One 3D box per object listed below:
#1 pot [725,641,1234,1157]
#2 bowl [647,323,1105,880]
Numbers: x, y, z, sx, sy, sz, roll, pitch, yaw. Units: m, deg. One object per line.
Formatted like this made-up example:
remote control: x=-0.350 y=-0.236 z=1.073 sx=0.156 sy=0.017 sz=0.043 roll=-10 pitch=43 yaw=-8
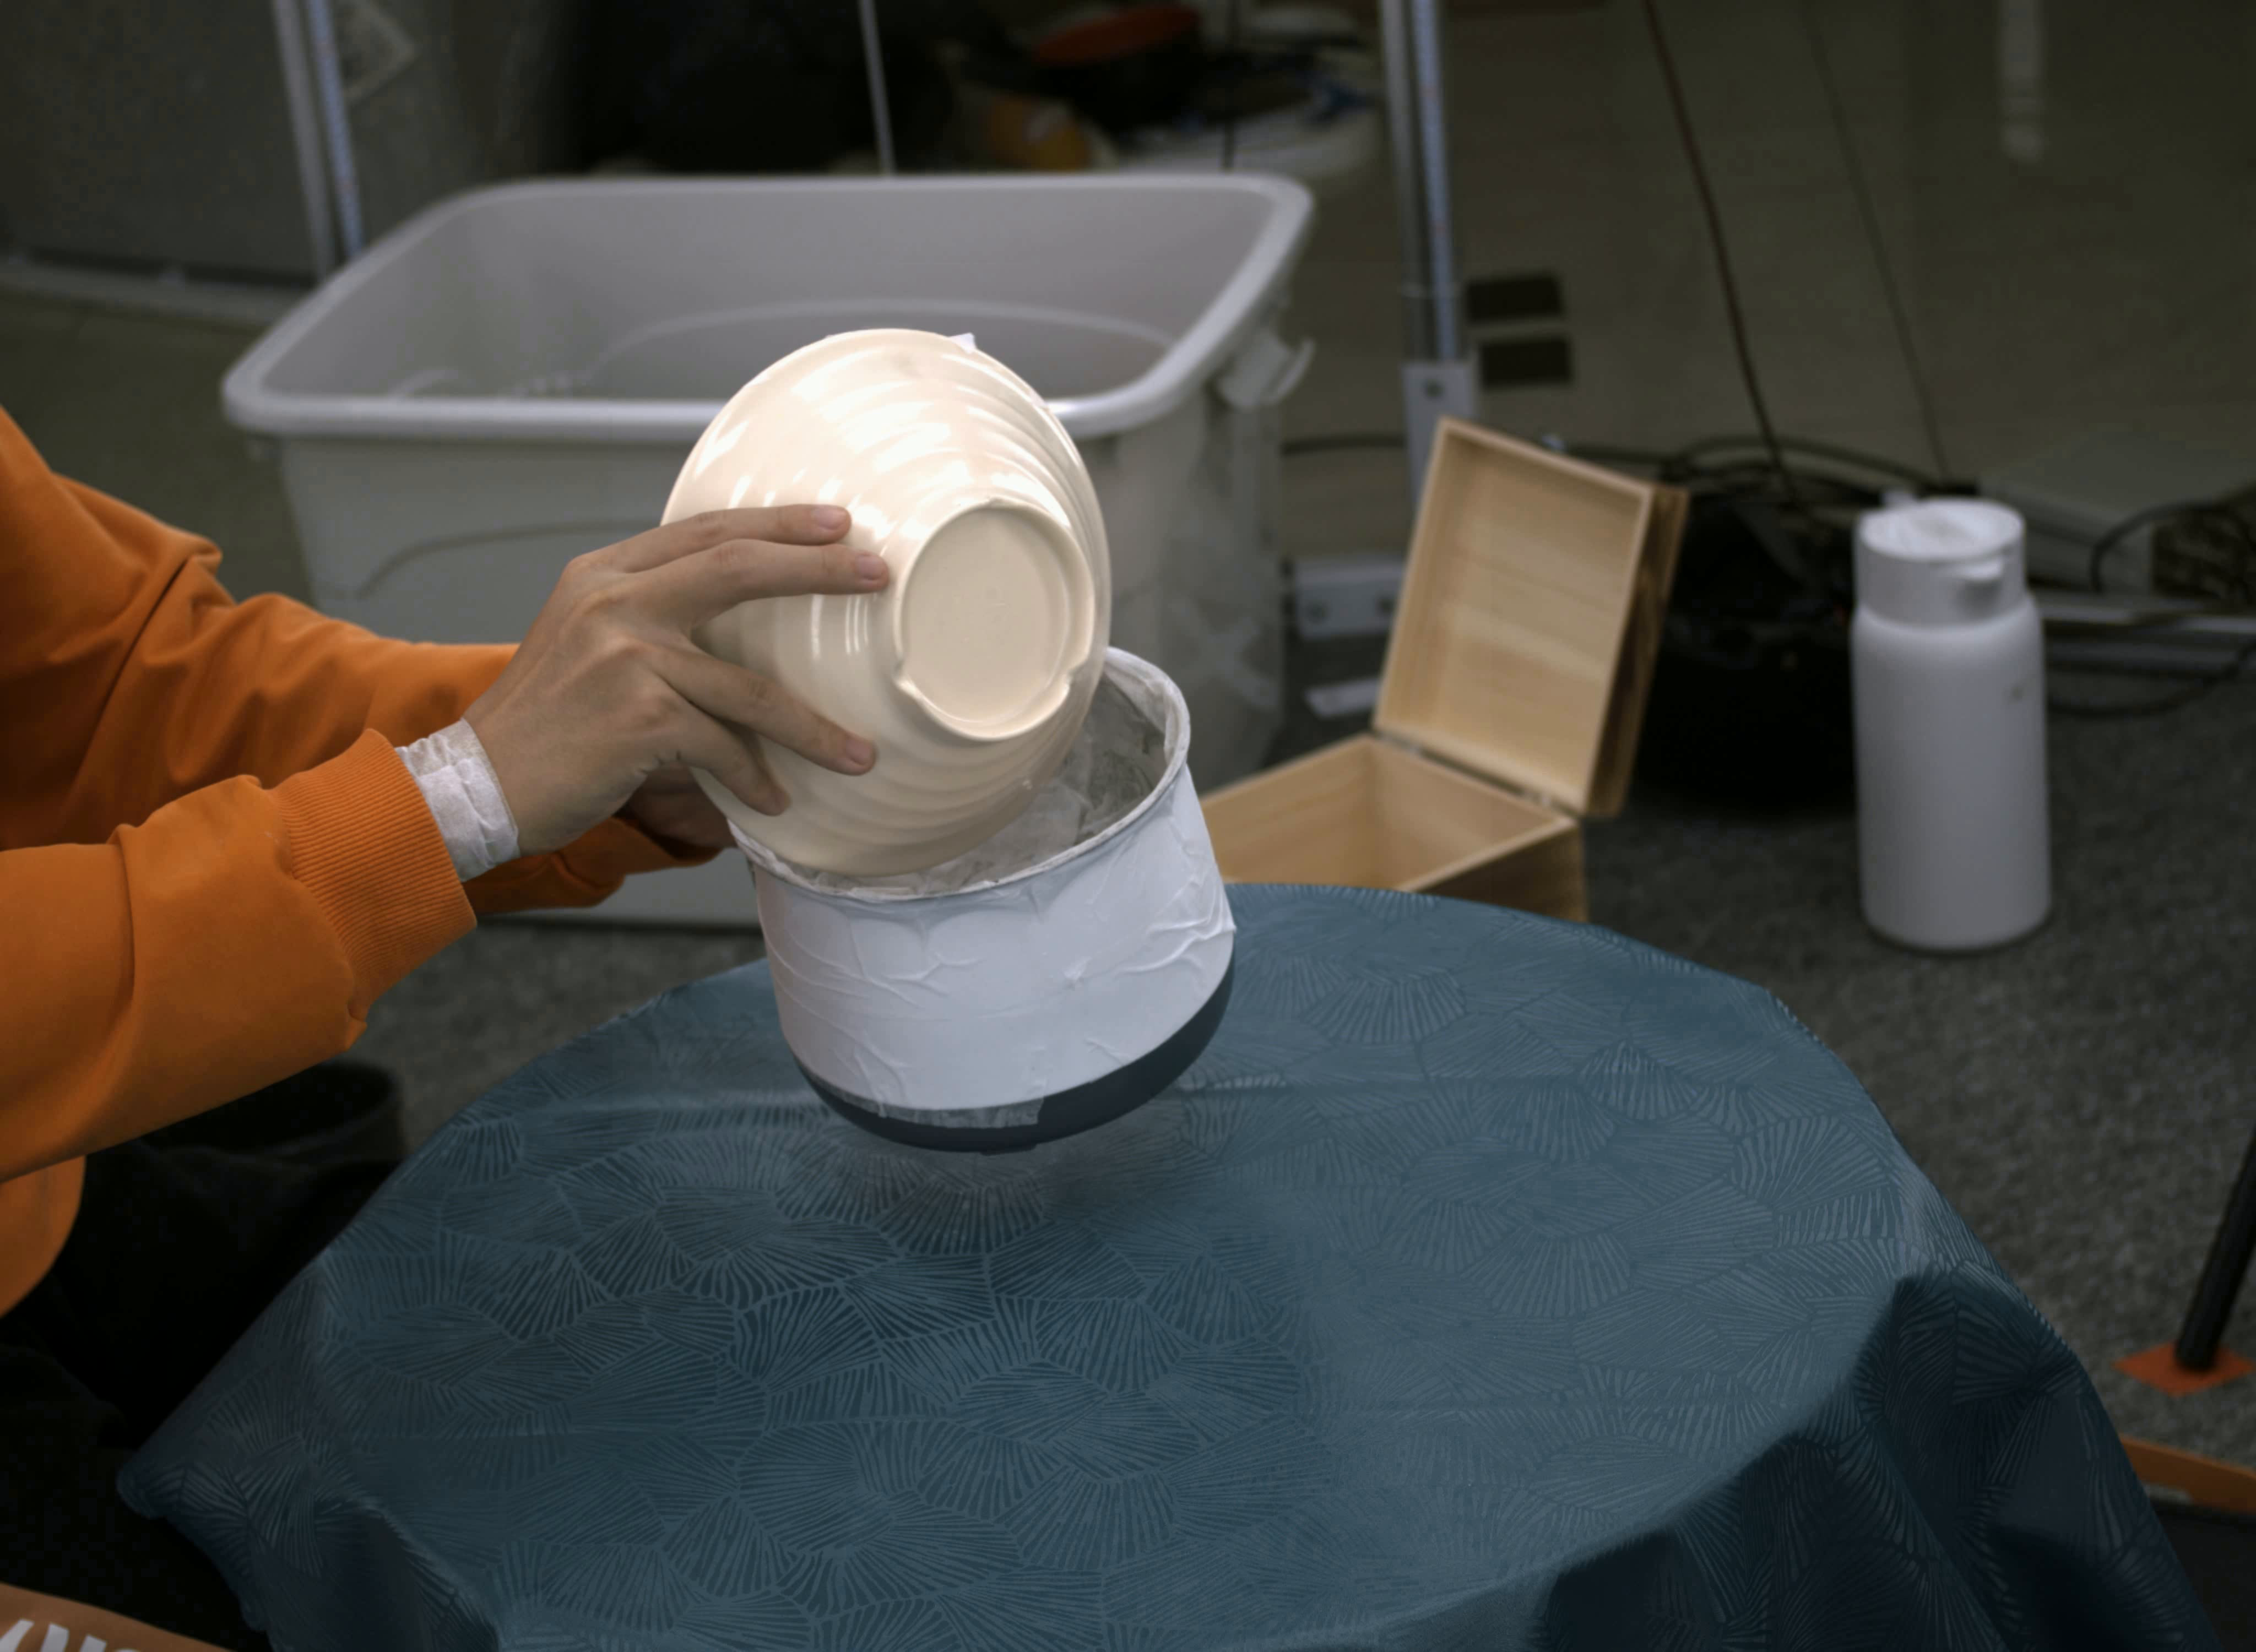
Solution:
pot: x=-0.071 y=0.020 z=2.157 sx=0.177 sy=0.139 sz=0.231 roll=-34 pitch=39 yaw=-30
bowl: x=-0.069 y=-0.080 z=2.047 sx=0.202 sy=0.206 sz=0.077 roll=-24 pitch=20 yaw=-34
